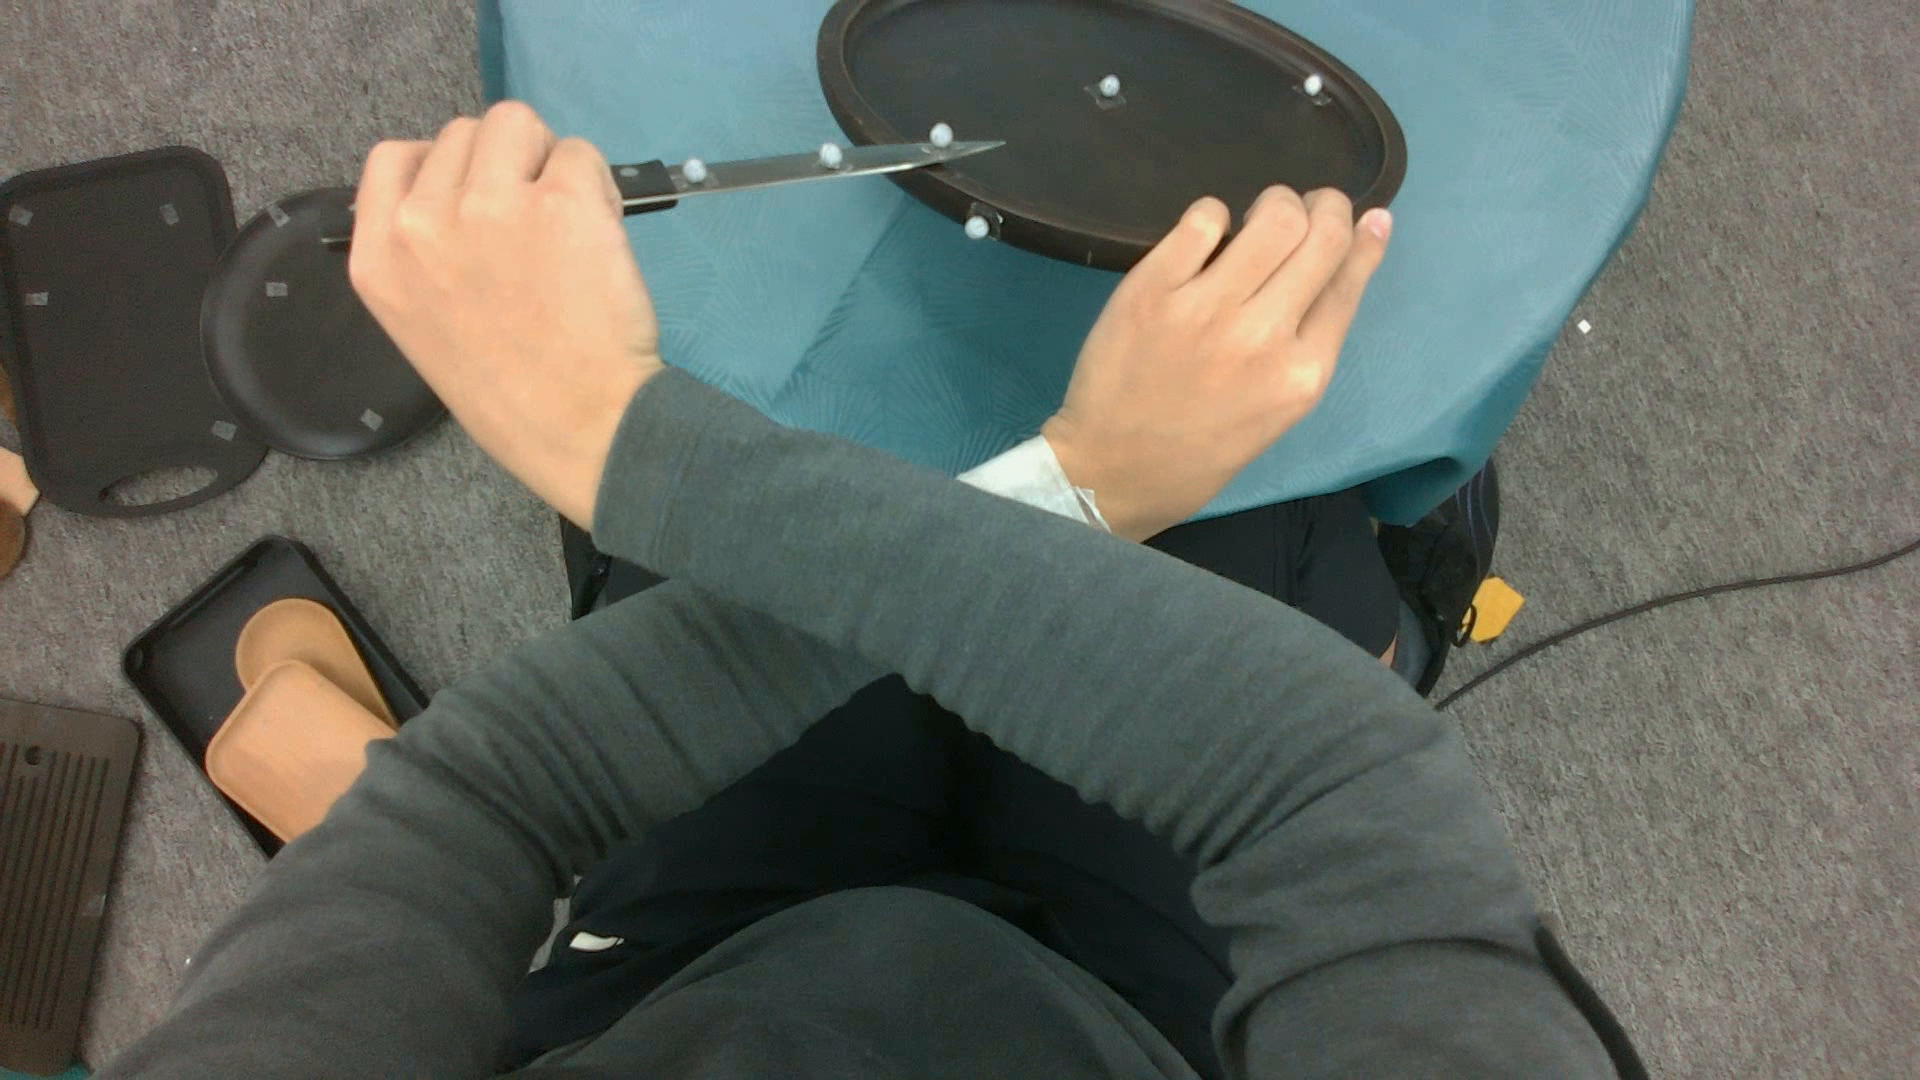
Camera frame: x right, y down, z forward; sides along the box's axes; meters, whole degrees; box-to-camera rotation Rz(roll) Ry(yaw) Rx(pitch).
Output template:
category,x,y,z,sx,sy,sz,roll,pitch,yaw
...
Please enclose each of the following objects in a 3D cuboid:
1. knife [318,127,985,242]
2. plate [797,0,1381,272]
category,x,y,z,sx,sy,sz,roll,pitch,yaw
knife,-0.099,-0.130,0.486,0.239,0.024,0.016,-13,129,-19
plate,0.056,-0.191,0.595,0.255,0.029,0.256,6,43,-6
